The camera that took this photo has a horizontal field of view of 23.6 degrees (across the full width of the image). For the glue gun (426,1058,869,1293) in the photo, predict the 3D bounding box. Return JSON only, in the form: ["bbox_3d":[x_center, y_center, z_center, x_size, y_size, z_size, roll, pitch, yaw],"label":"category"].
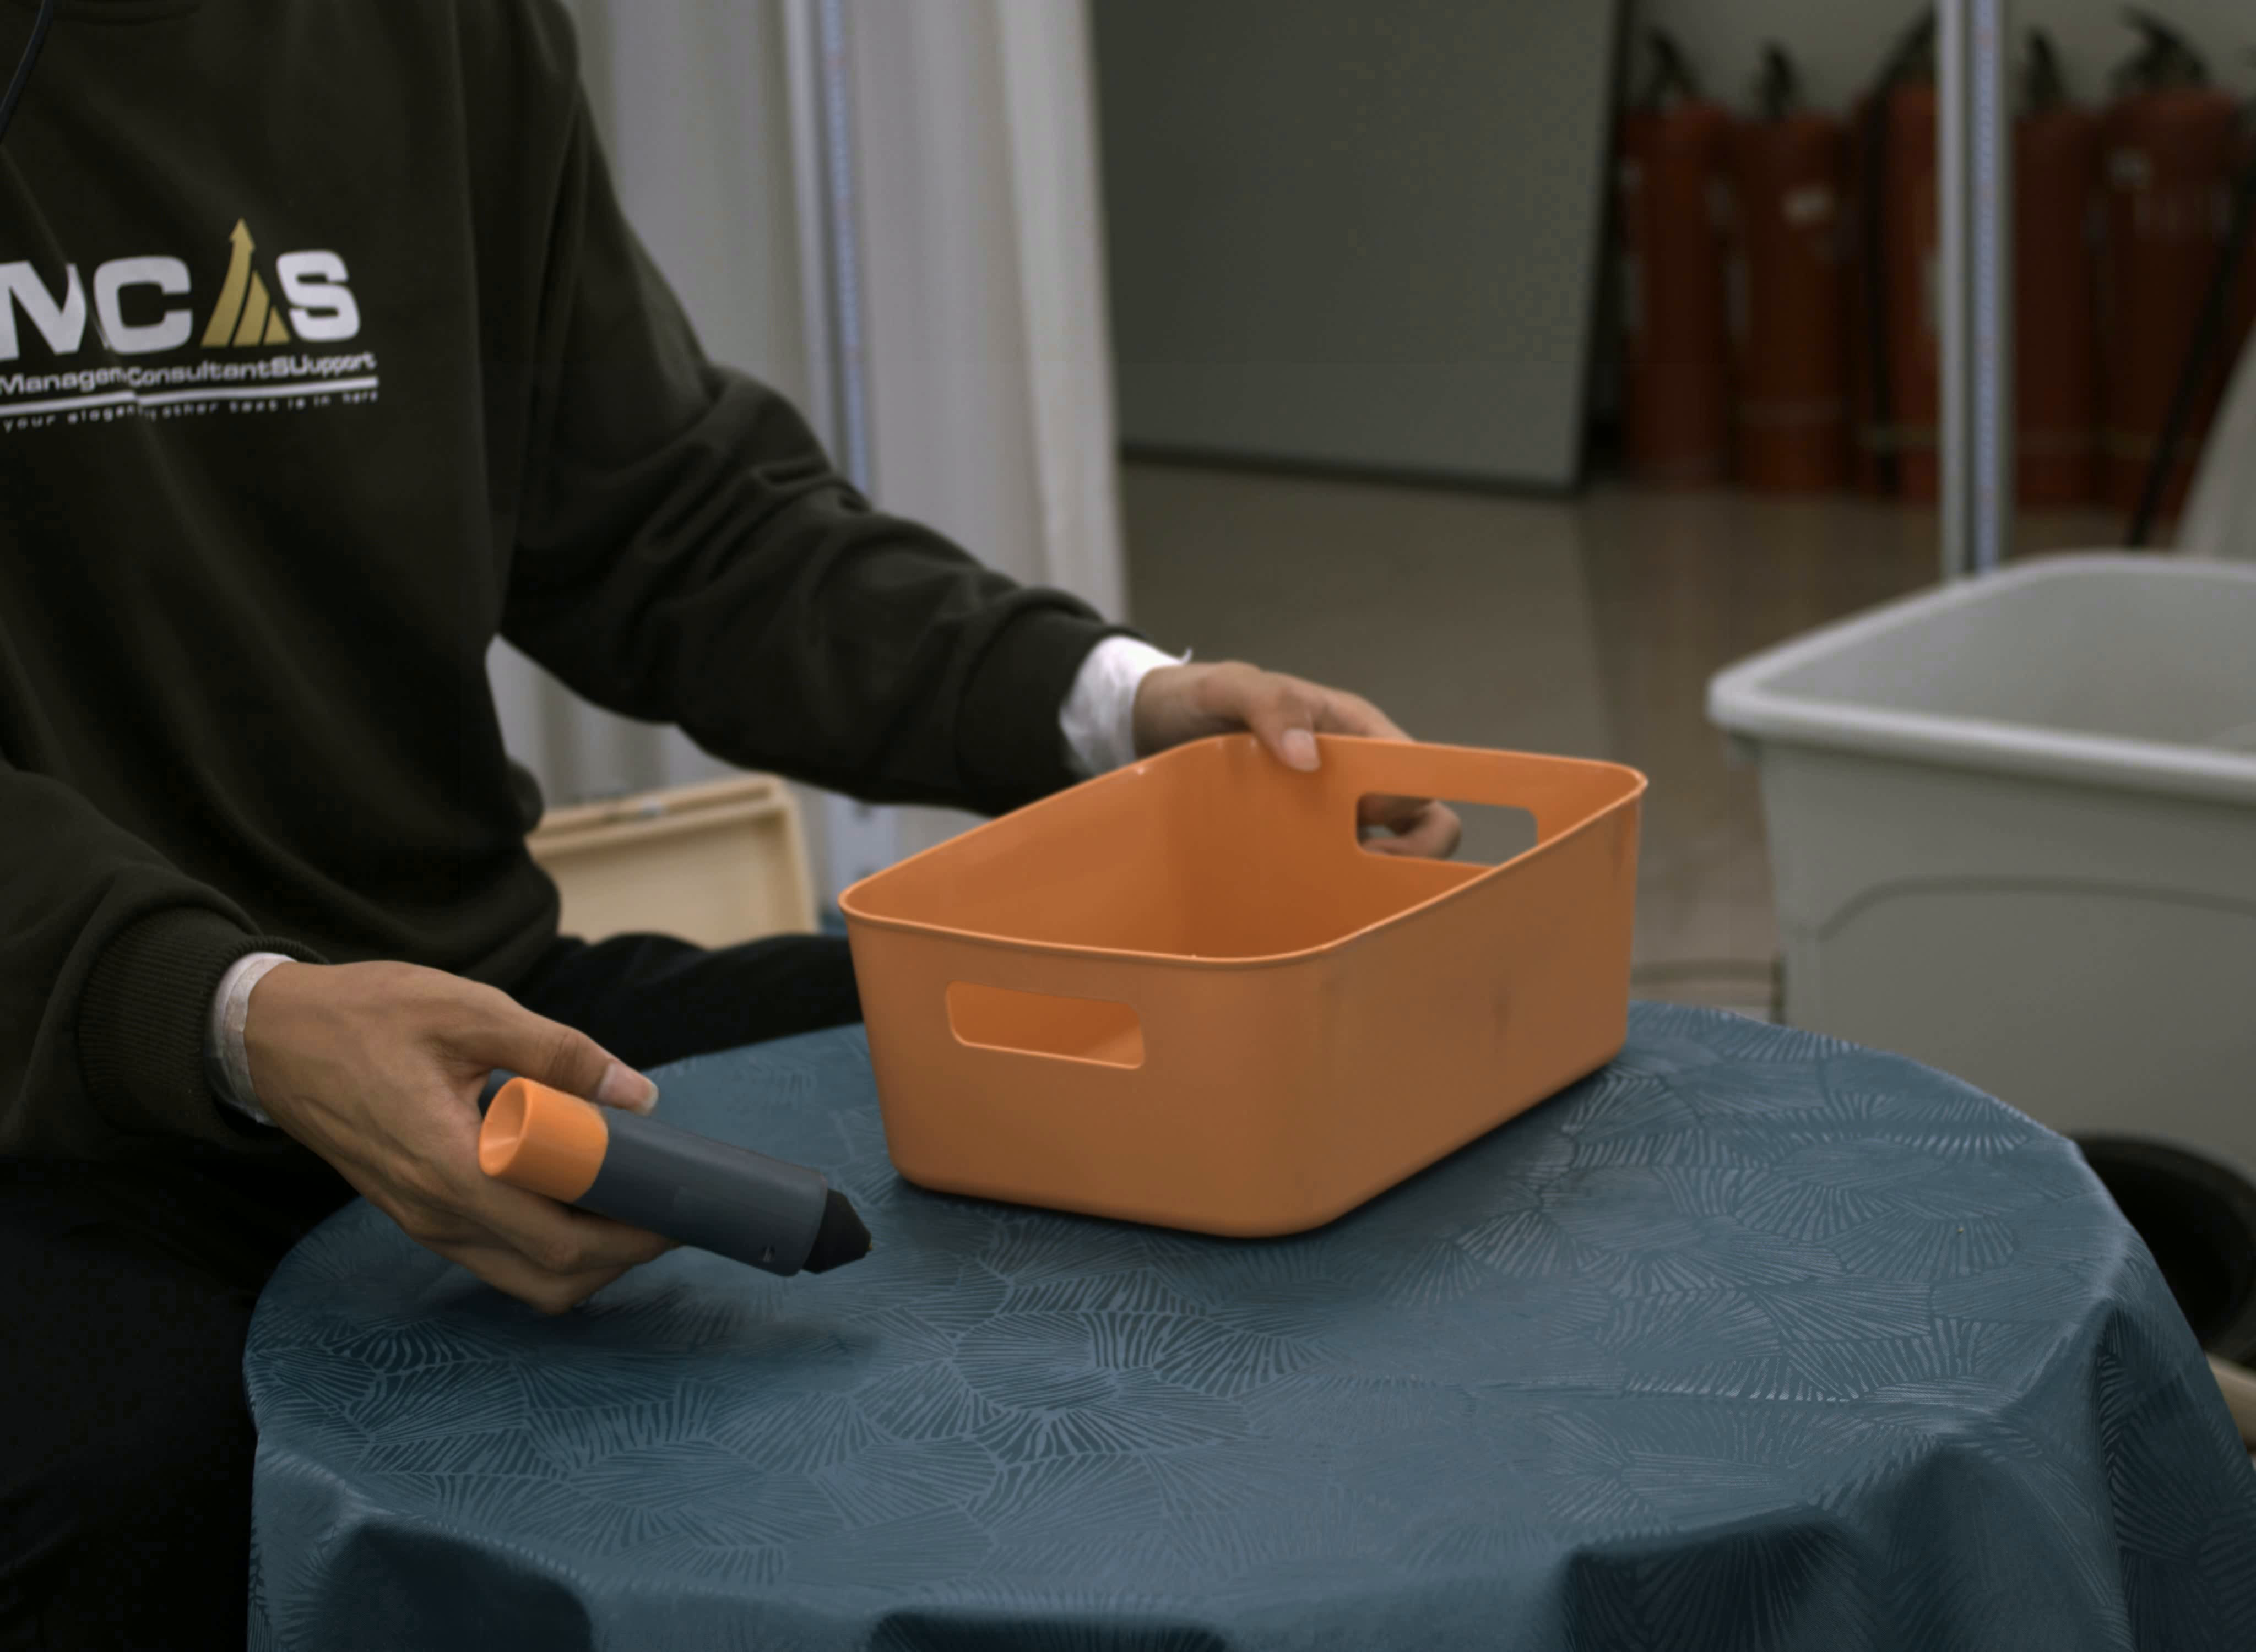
[{"bbox_3d":[-0.155,0.110,1.691,0.116,0.041,0.141,25,-8,-28],"label":"glue gun"}]

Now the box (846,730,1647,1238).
[{"bbox_3d":[0.045,0.051,1.834,0.200,0.103,0.268,5,17,34],"label":"box"}]
